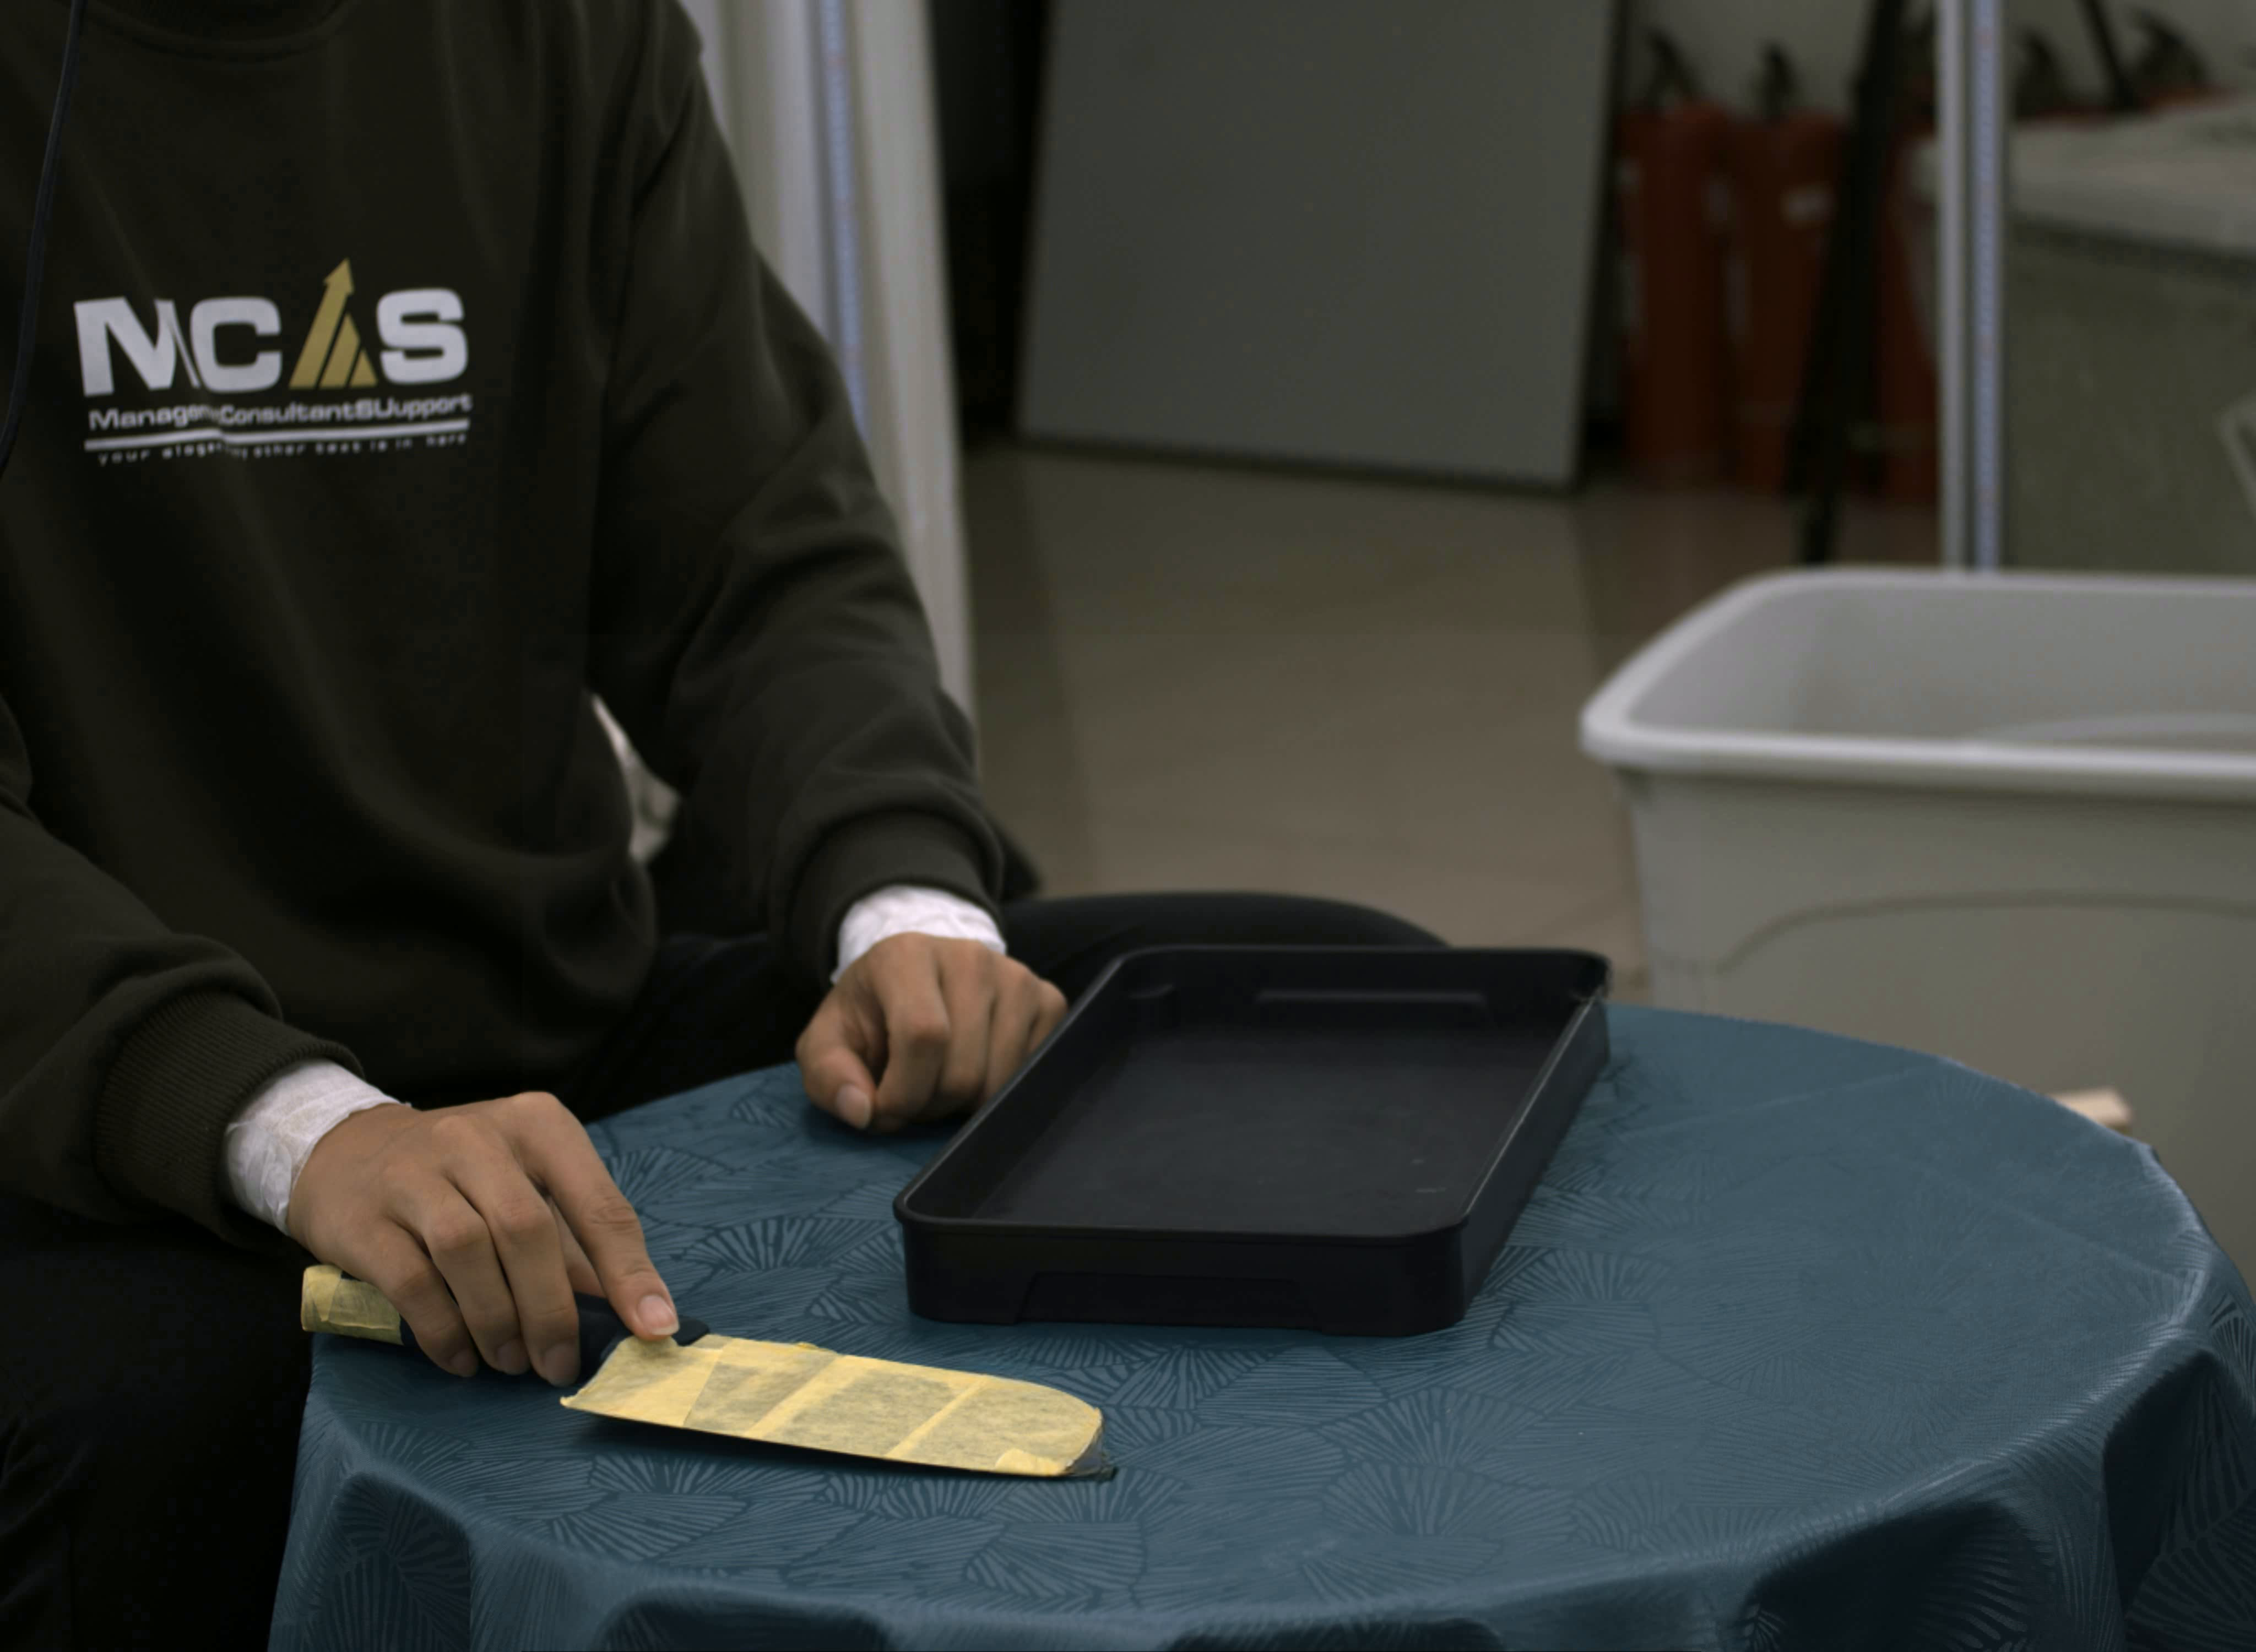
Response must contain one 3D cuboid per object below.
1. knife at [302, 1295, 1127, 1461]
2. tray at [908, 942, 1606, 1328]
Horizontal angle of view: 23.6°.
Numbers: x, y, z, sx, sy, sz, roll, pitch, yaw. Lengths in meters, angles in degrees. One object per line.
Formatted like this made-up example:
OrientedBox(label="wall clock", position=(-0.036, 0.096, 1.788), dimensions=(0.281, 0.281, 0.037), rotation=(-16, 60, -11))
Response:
OrientedBox(label="knife", position=(-0.129, 0.166, 1.597), dimensions=(0.290, 0.027, 0.080), rotation=(4, 12, 27))
OrientedBox(label="tray", position=(0.051, 0.098, 1.781), dimensions=(0.183, 0.037, 0.316), rotation=(-2, 14, 14))
